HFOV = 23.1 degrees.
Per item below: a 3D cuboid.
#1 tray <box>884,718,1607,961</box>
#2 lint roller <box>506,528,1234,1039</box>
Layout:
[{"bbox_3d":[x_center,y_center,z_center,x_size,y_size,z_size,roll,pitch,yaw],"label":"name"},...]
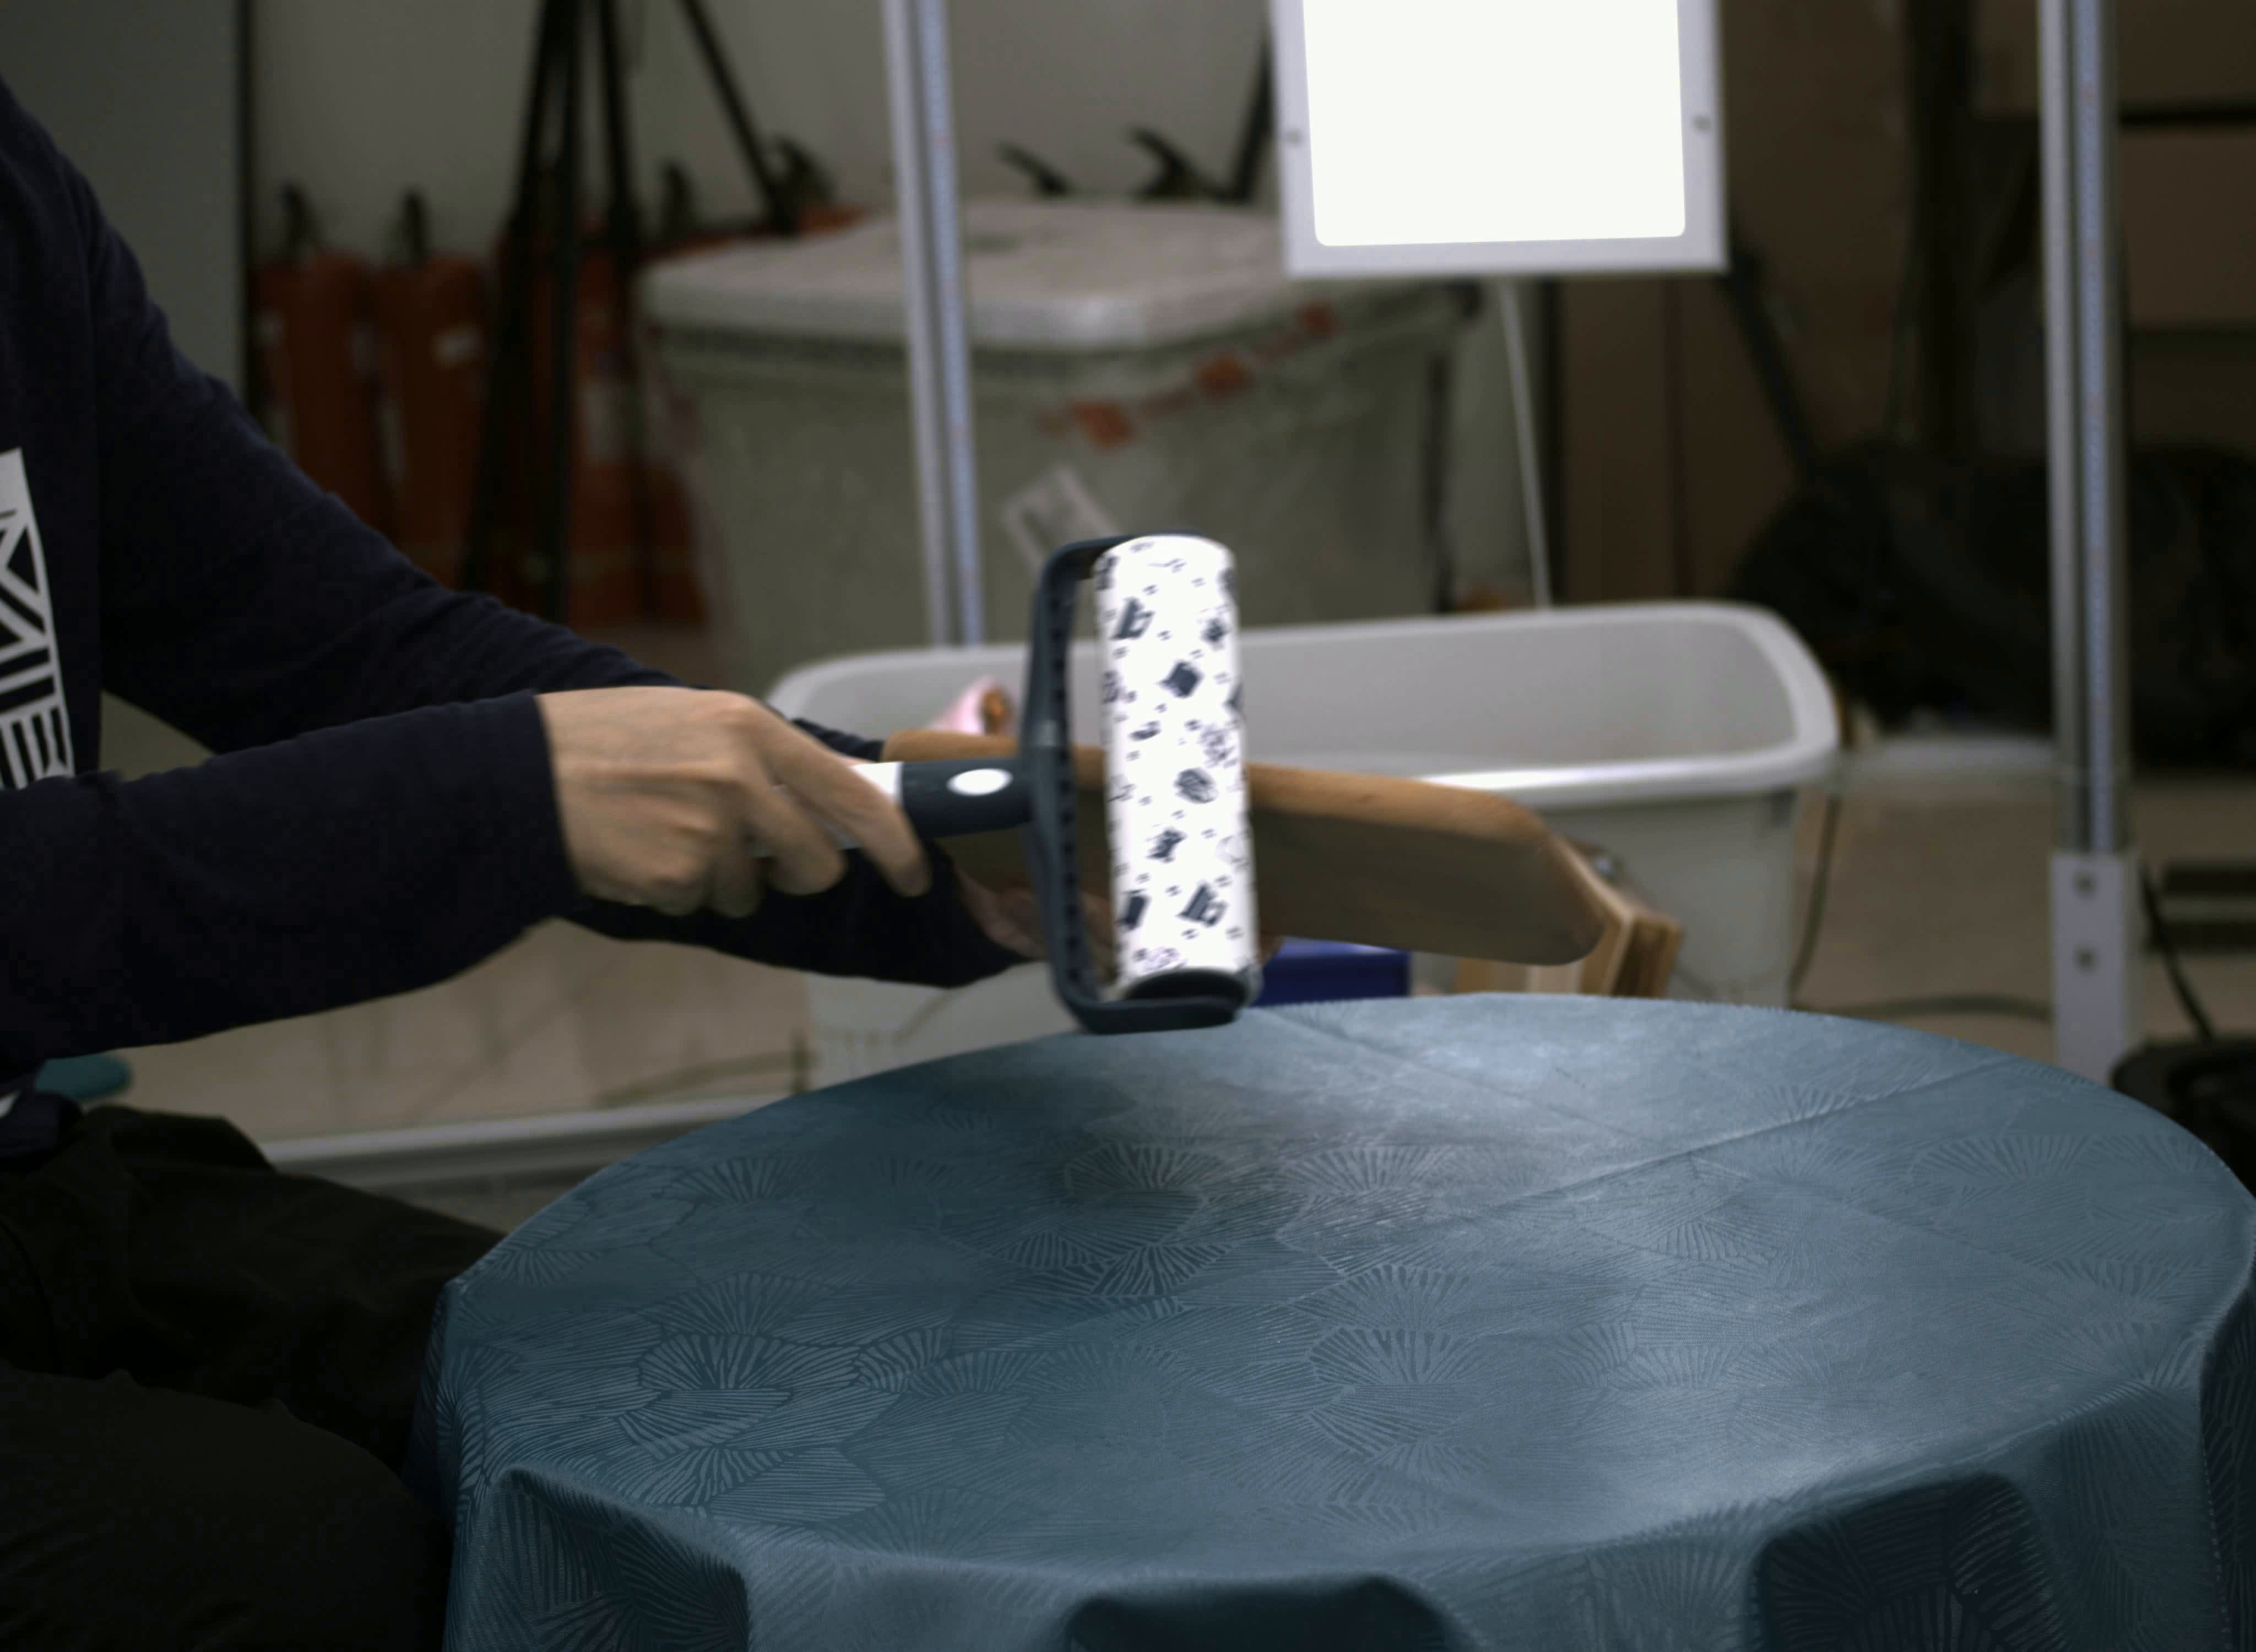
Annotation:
[{"bbox_3d":[0.039,0.006,1.925,0.255,0.023,0.129,5,-28,27],"label":"tray"},{"bbox_3d":[-0.090,-0.005,1.857,0.247,0.176,0.050,-6,-23,6],"label":"lint roller"}]
